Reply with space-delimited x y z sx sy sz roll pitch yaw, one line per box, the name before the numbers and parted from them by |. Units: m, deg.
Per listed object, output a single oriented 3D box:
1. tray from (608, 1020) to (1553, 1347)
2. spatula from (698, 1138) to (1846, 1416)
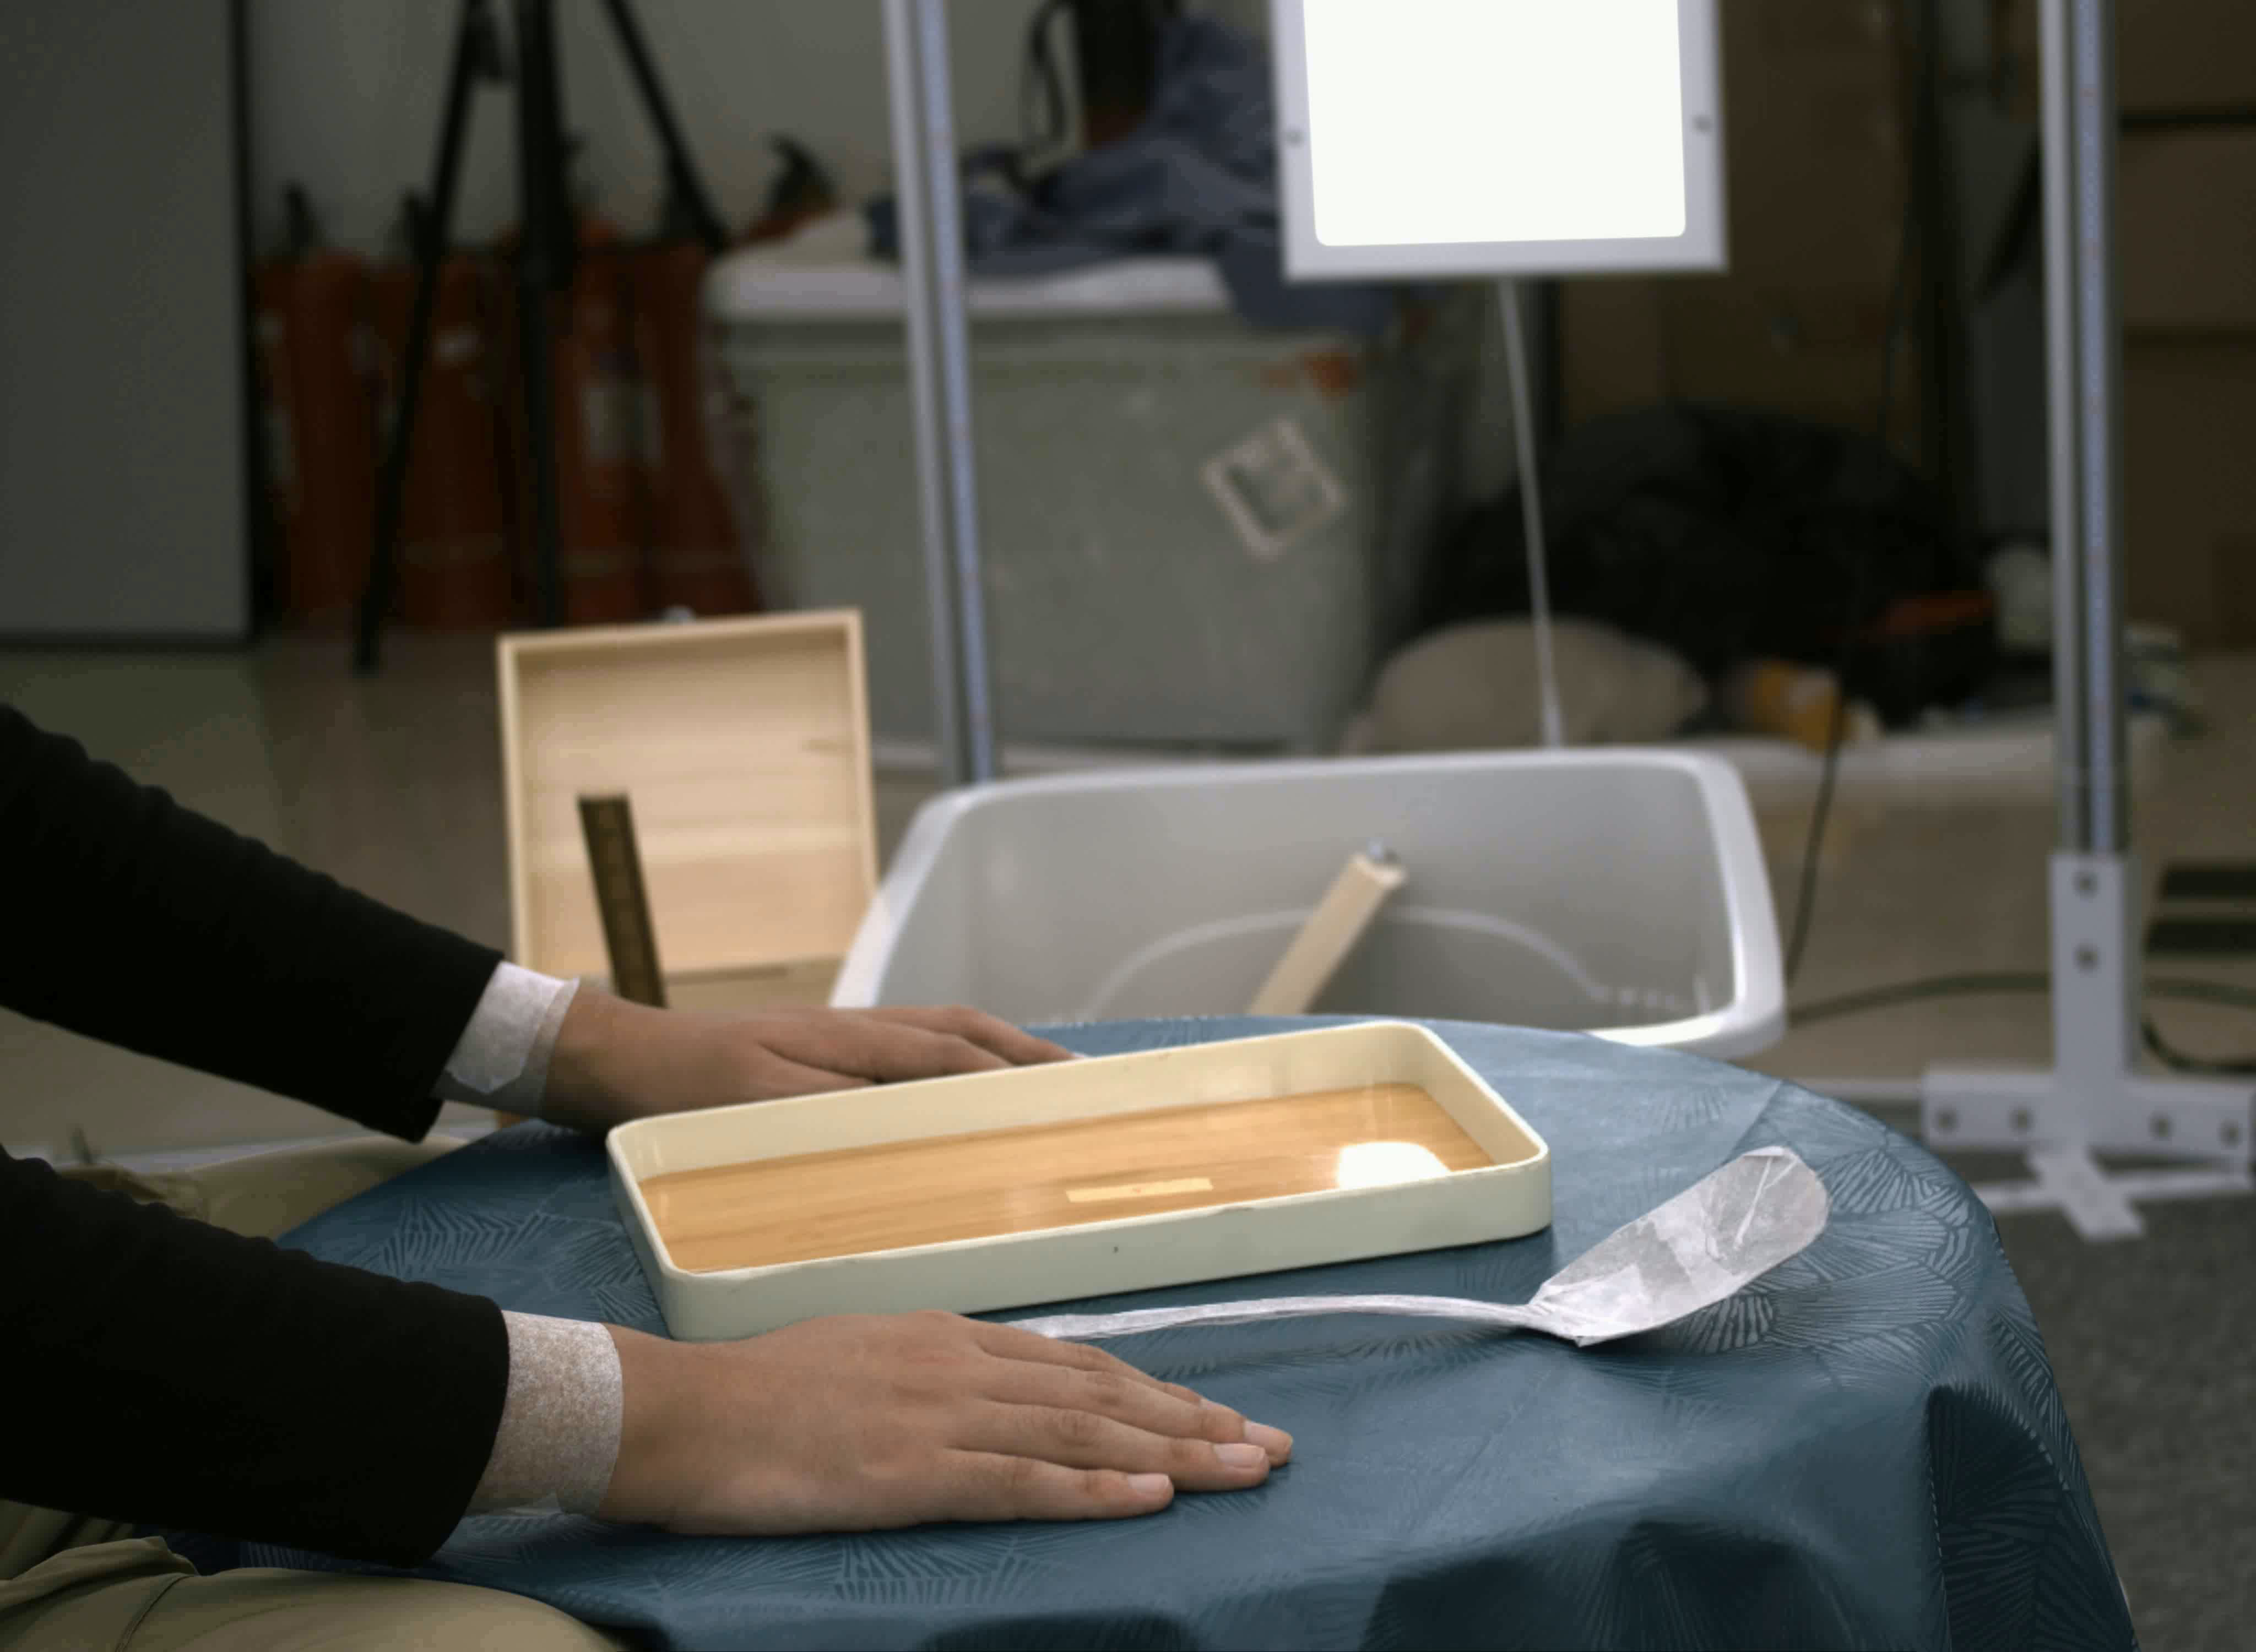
tray | -0.020 0.119 1.878 0.297 0.027 0.192 -7 14 -8
spatula | 0.045 0.147 1.718 0.363 0.045 0.099 -6 14 -3
